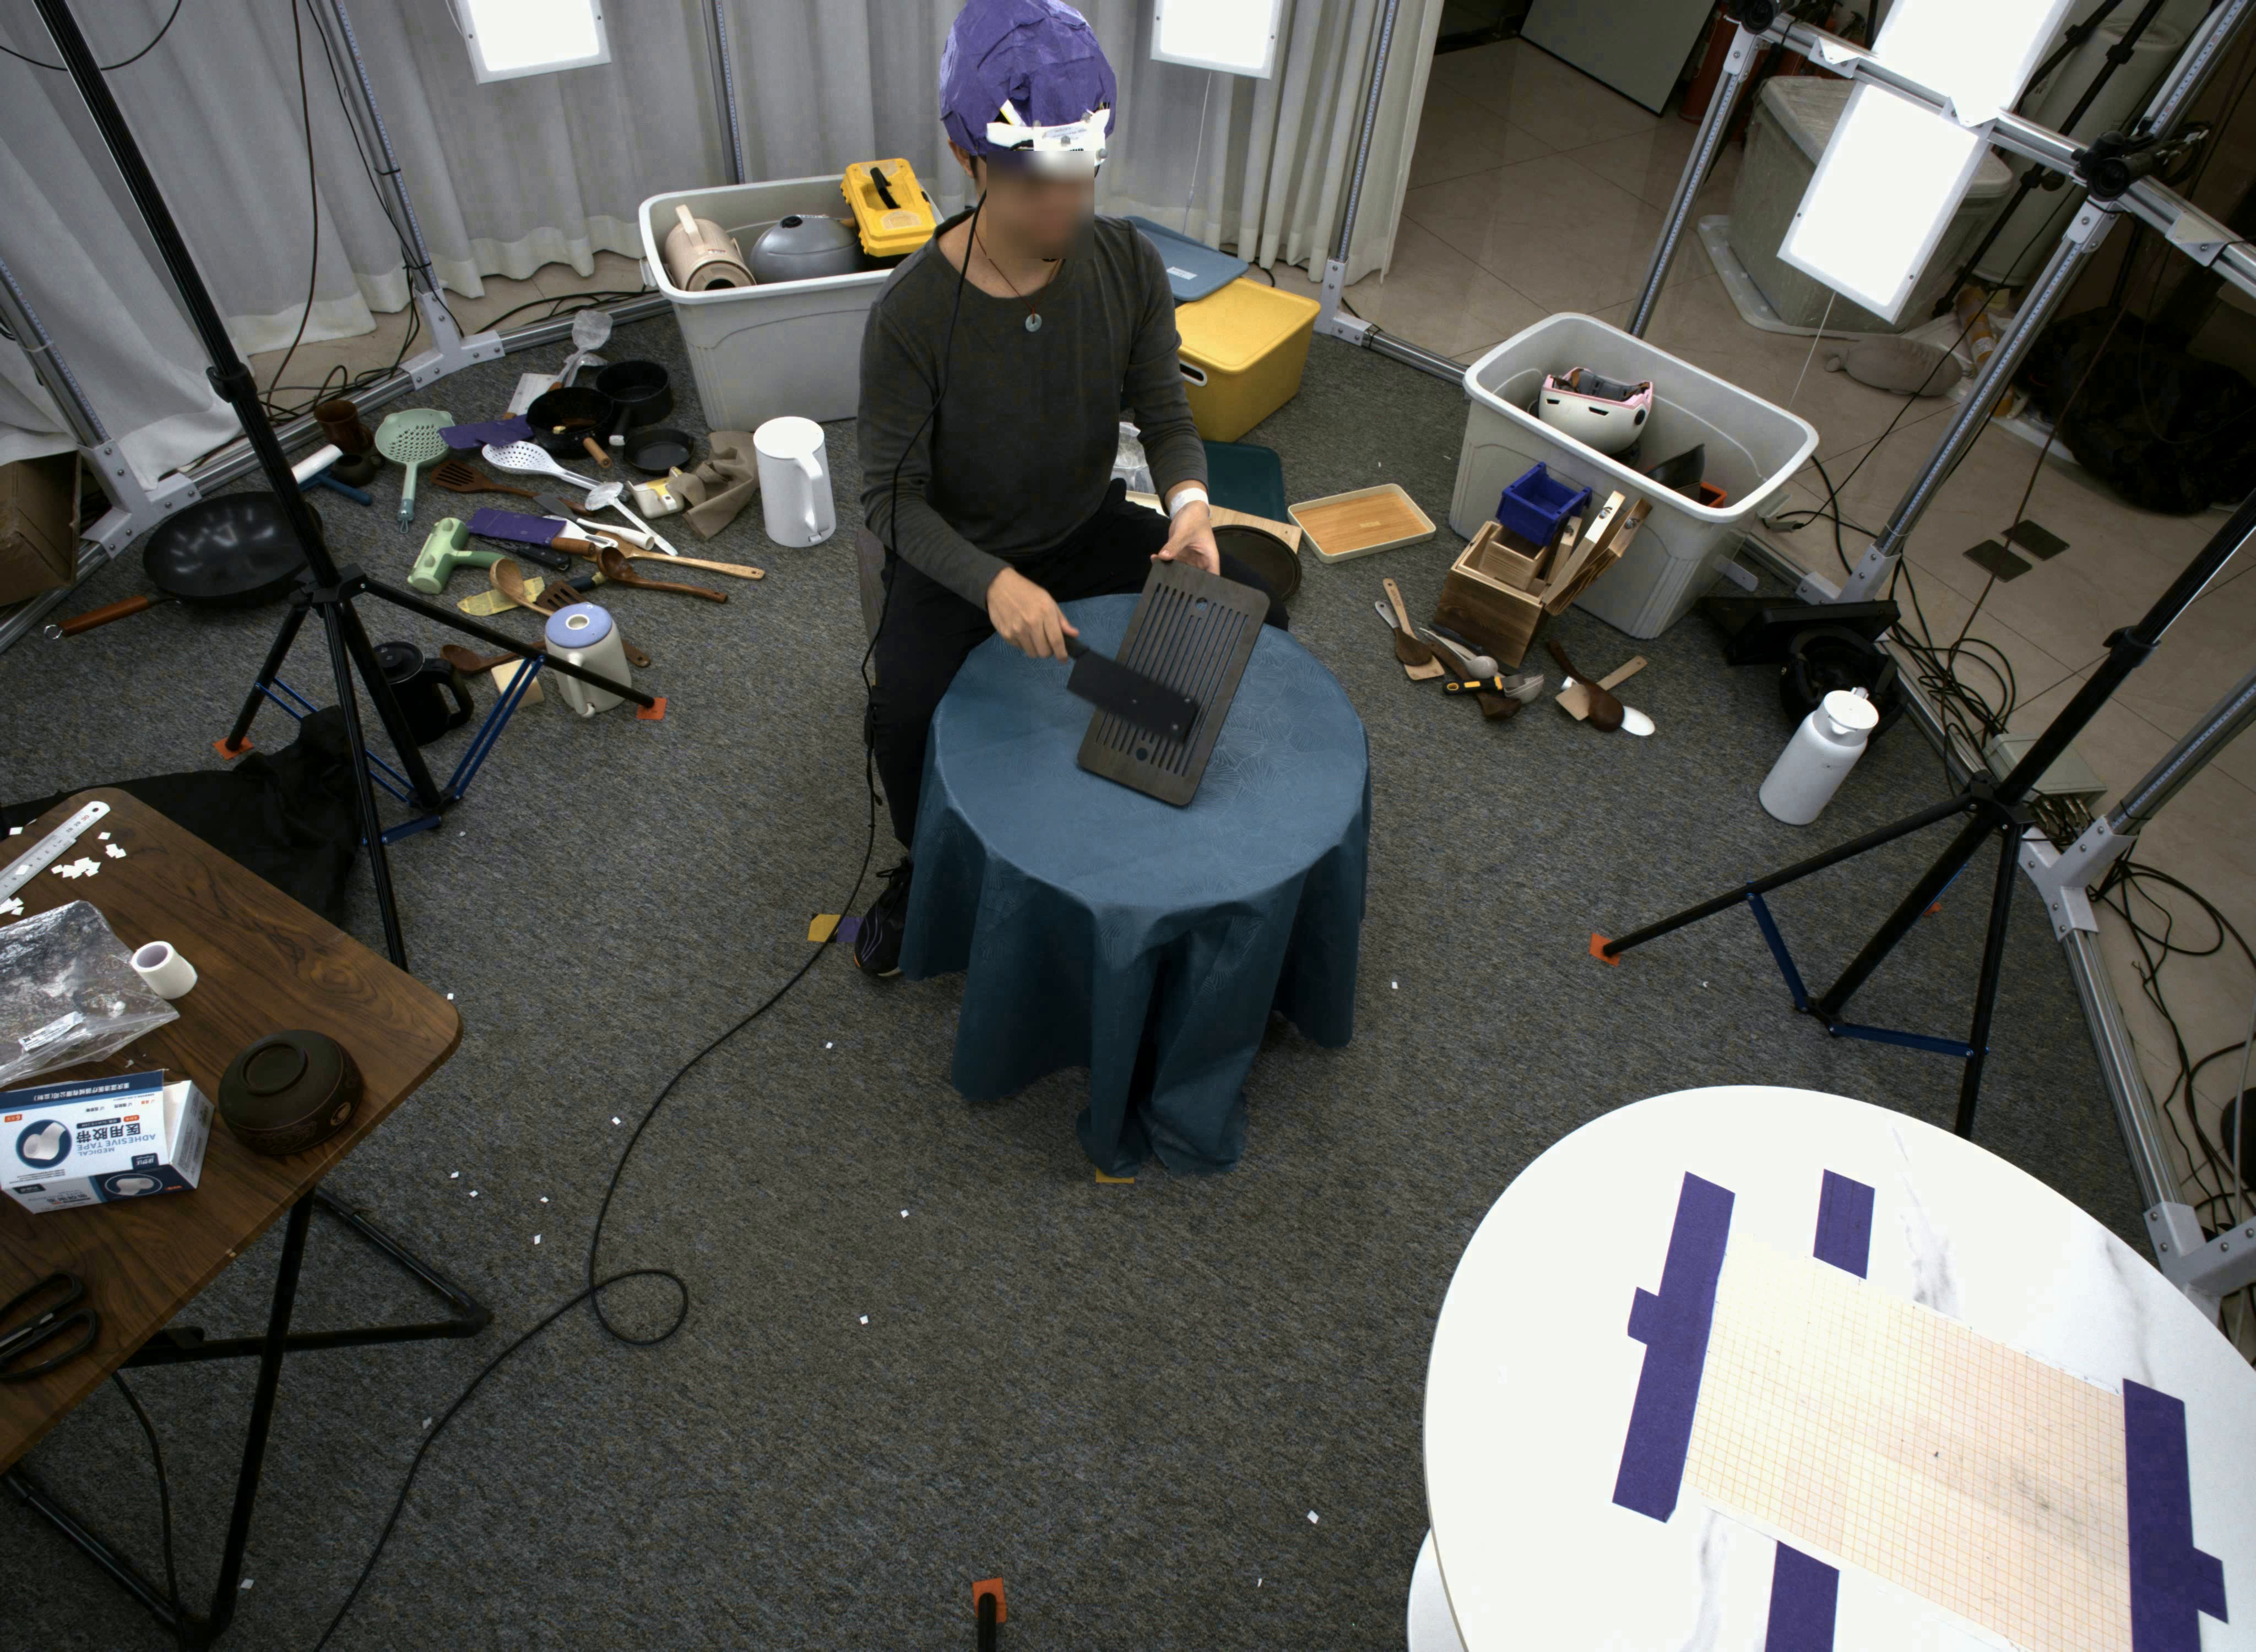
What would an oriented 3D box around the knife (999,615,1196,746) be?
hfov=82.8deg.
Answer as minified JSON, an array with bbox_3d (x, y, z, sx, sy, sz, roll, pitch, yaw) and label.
[{"bbox_3d":[-0.046,-0.200,1.718,0.305,0.080,0.021,33,17,16],"label":"knife"}]

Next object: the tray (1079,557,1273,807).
[{"bbox_3d":[0.064,-0.193,1.713,0.171,0.018,0.306,22,89,16],"label":"tray"}]
